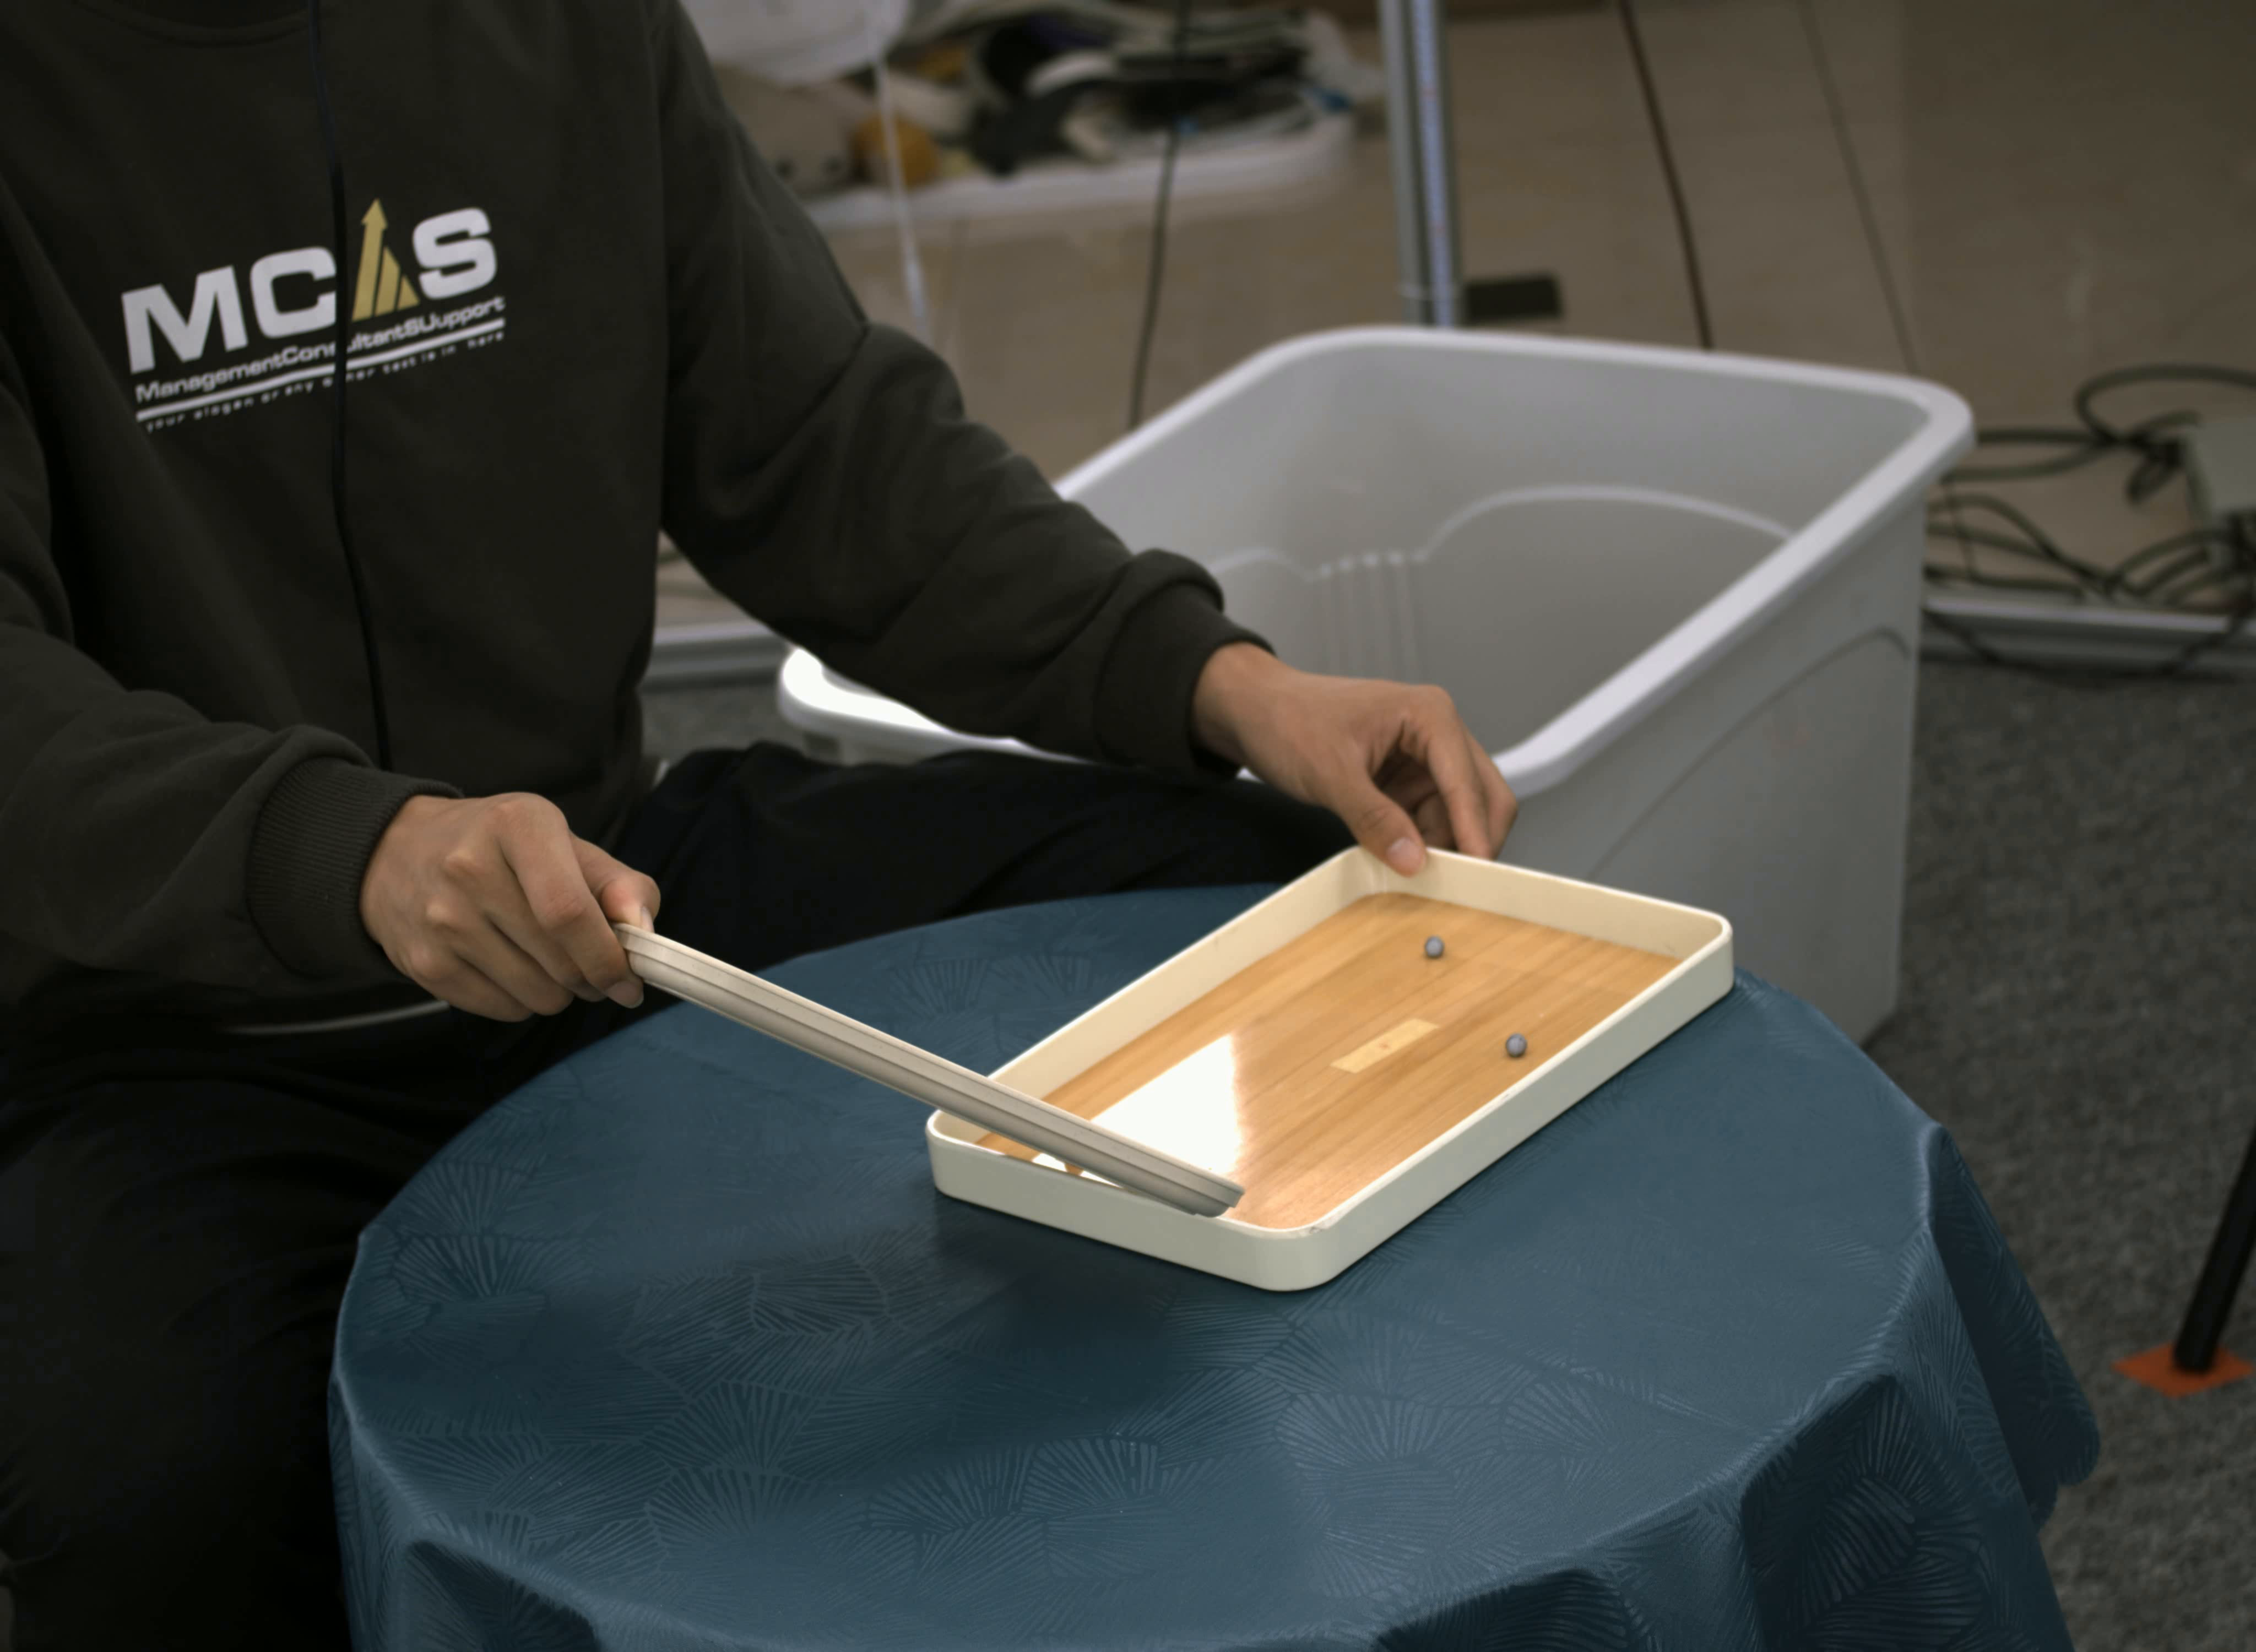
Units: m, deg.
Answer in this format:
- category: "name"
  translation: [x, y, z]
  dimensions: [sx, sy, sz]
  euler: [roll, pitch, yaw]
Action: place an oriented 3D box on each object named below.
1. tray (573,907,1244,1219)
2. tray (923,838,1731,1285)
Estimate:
- category: "tray"
  translation: [-0.082, 0.087, 2.041]
  dimensions: [0.240, 0.017, 0.170]
  euler: [24, -3, -19]
- category: "tray"
  translation: [0.081, 0.087, 2.208]
  dimensions: [0.190, 0.028, 0.297]
  euler: [13, 31, 37]
